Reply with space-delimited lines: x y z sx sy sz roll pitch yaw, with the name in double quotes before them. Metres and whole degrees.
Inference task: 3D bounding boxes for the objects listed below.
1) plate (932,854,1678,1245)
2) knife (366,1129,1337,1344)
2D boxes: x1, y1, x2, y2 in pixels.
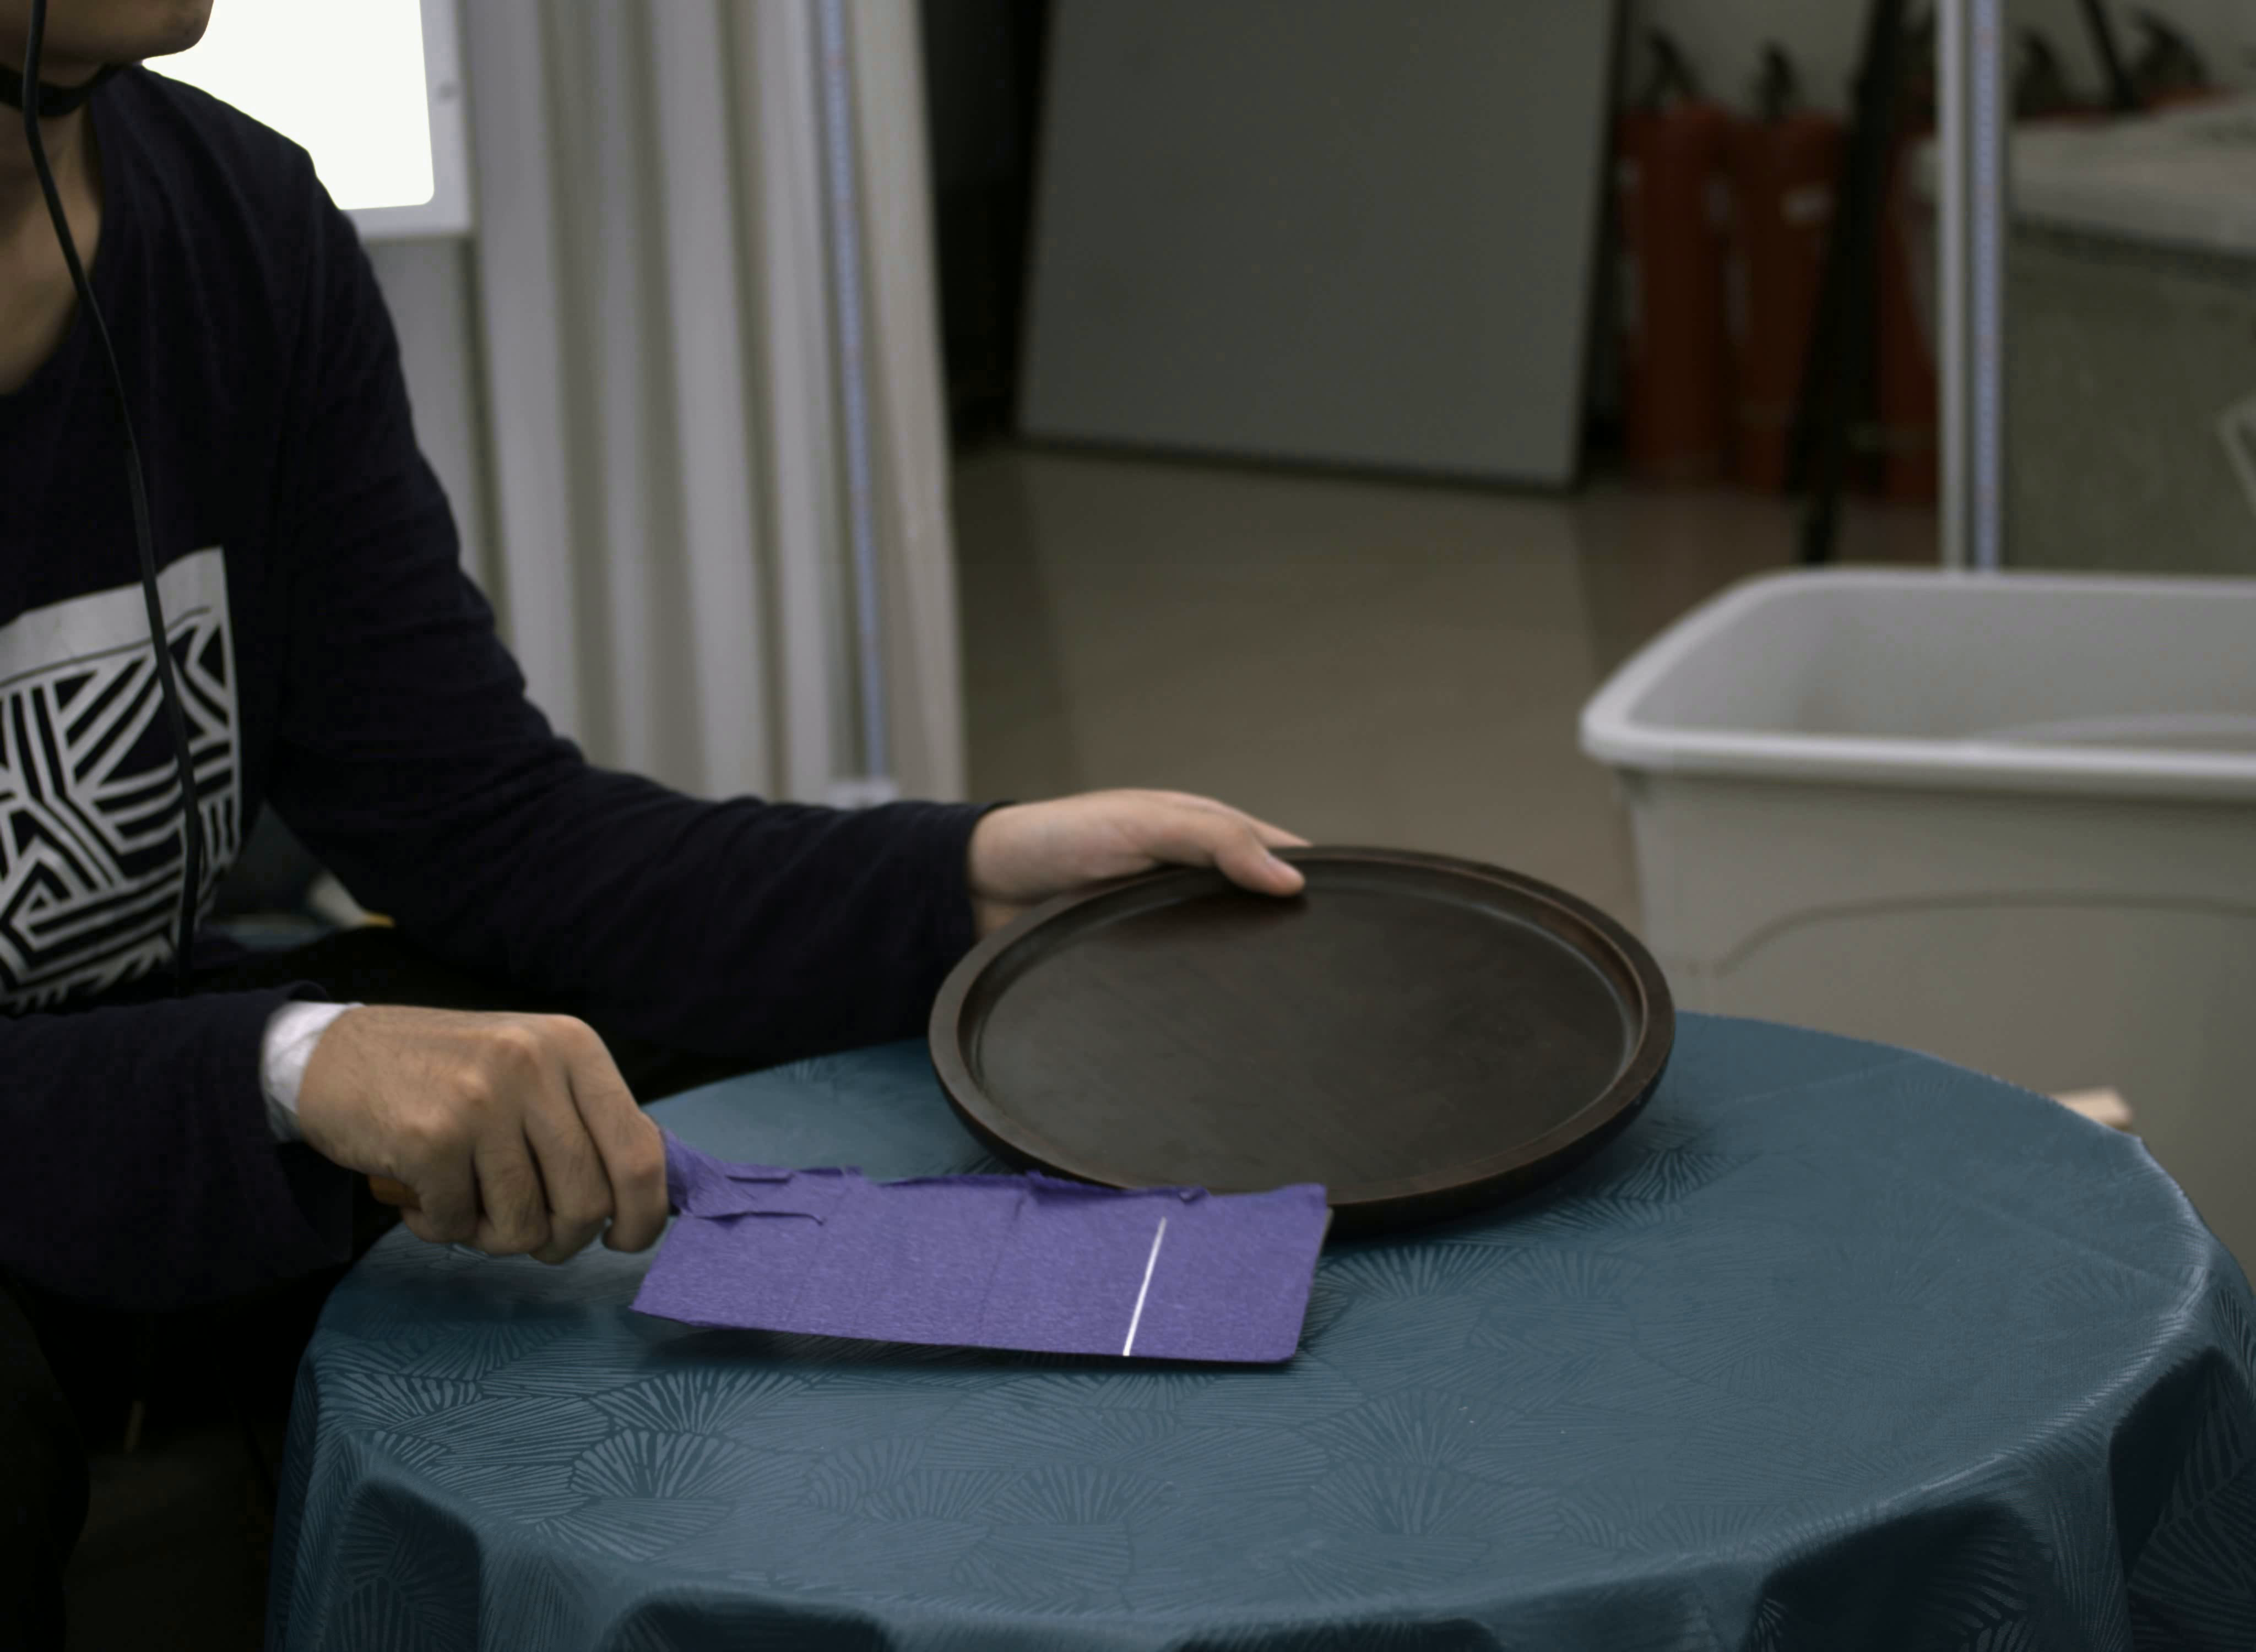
"plate" 0.059 0.072 1.809 0.251 0.029 0.256 -3 27 1
"knife" -0.093 0.126 1.665 0.313 0.032 0.103 0 27 13
